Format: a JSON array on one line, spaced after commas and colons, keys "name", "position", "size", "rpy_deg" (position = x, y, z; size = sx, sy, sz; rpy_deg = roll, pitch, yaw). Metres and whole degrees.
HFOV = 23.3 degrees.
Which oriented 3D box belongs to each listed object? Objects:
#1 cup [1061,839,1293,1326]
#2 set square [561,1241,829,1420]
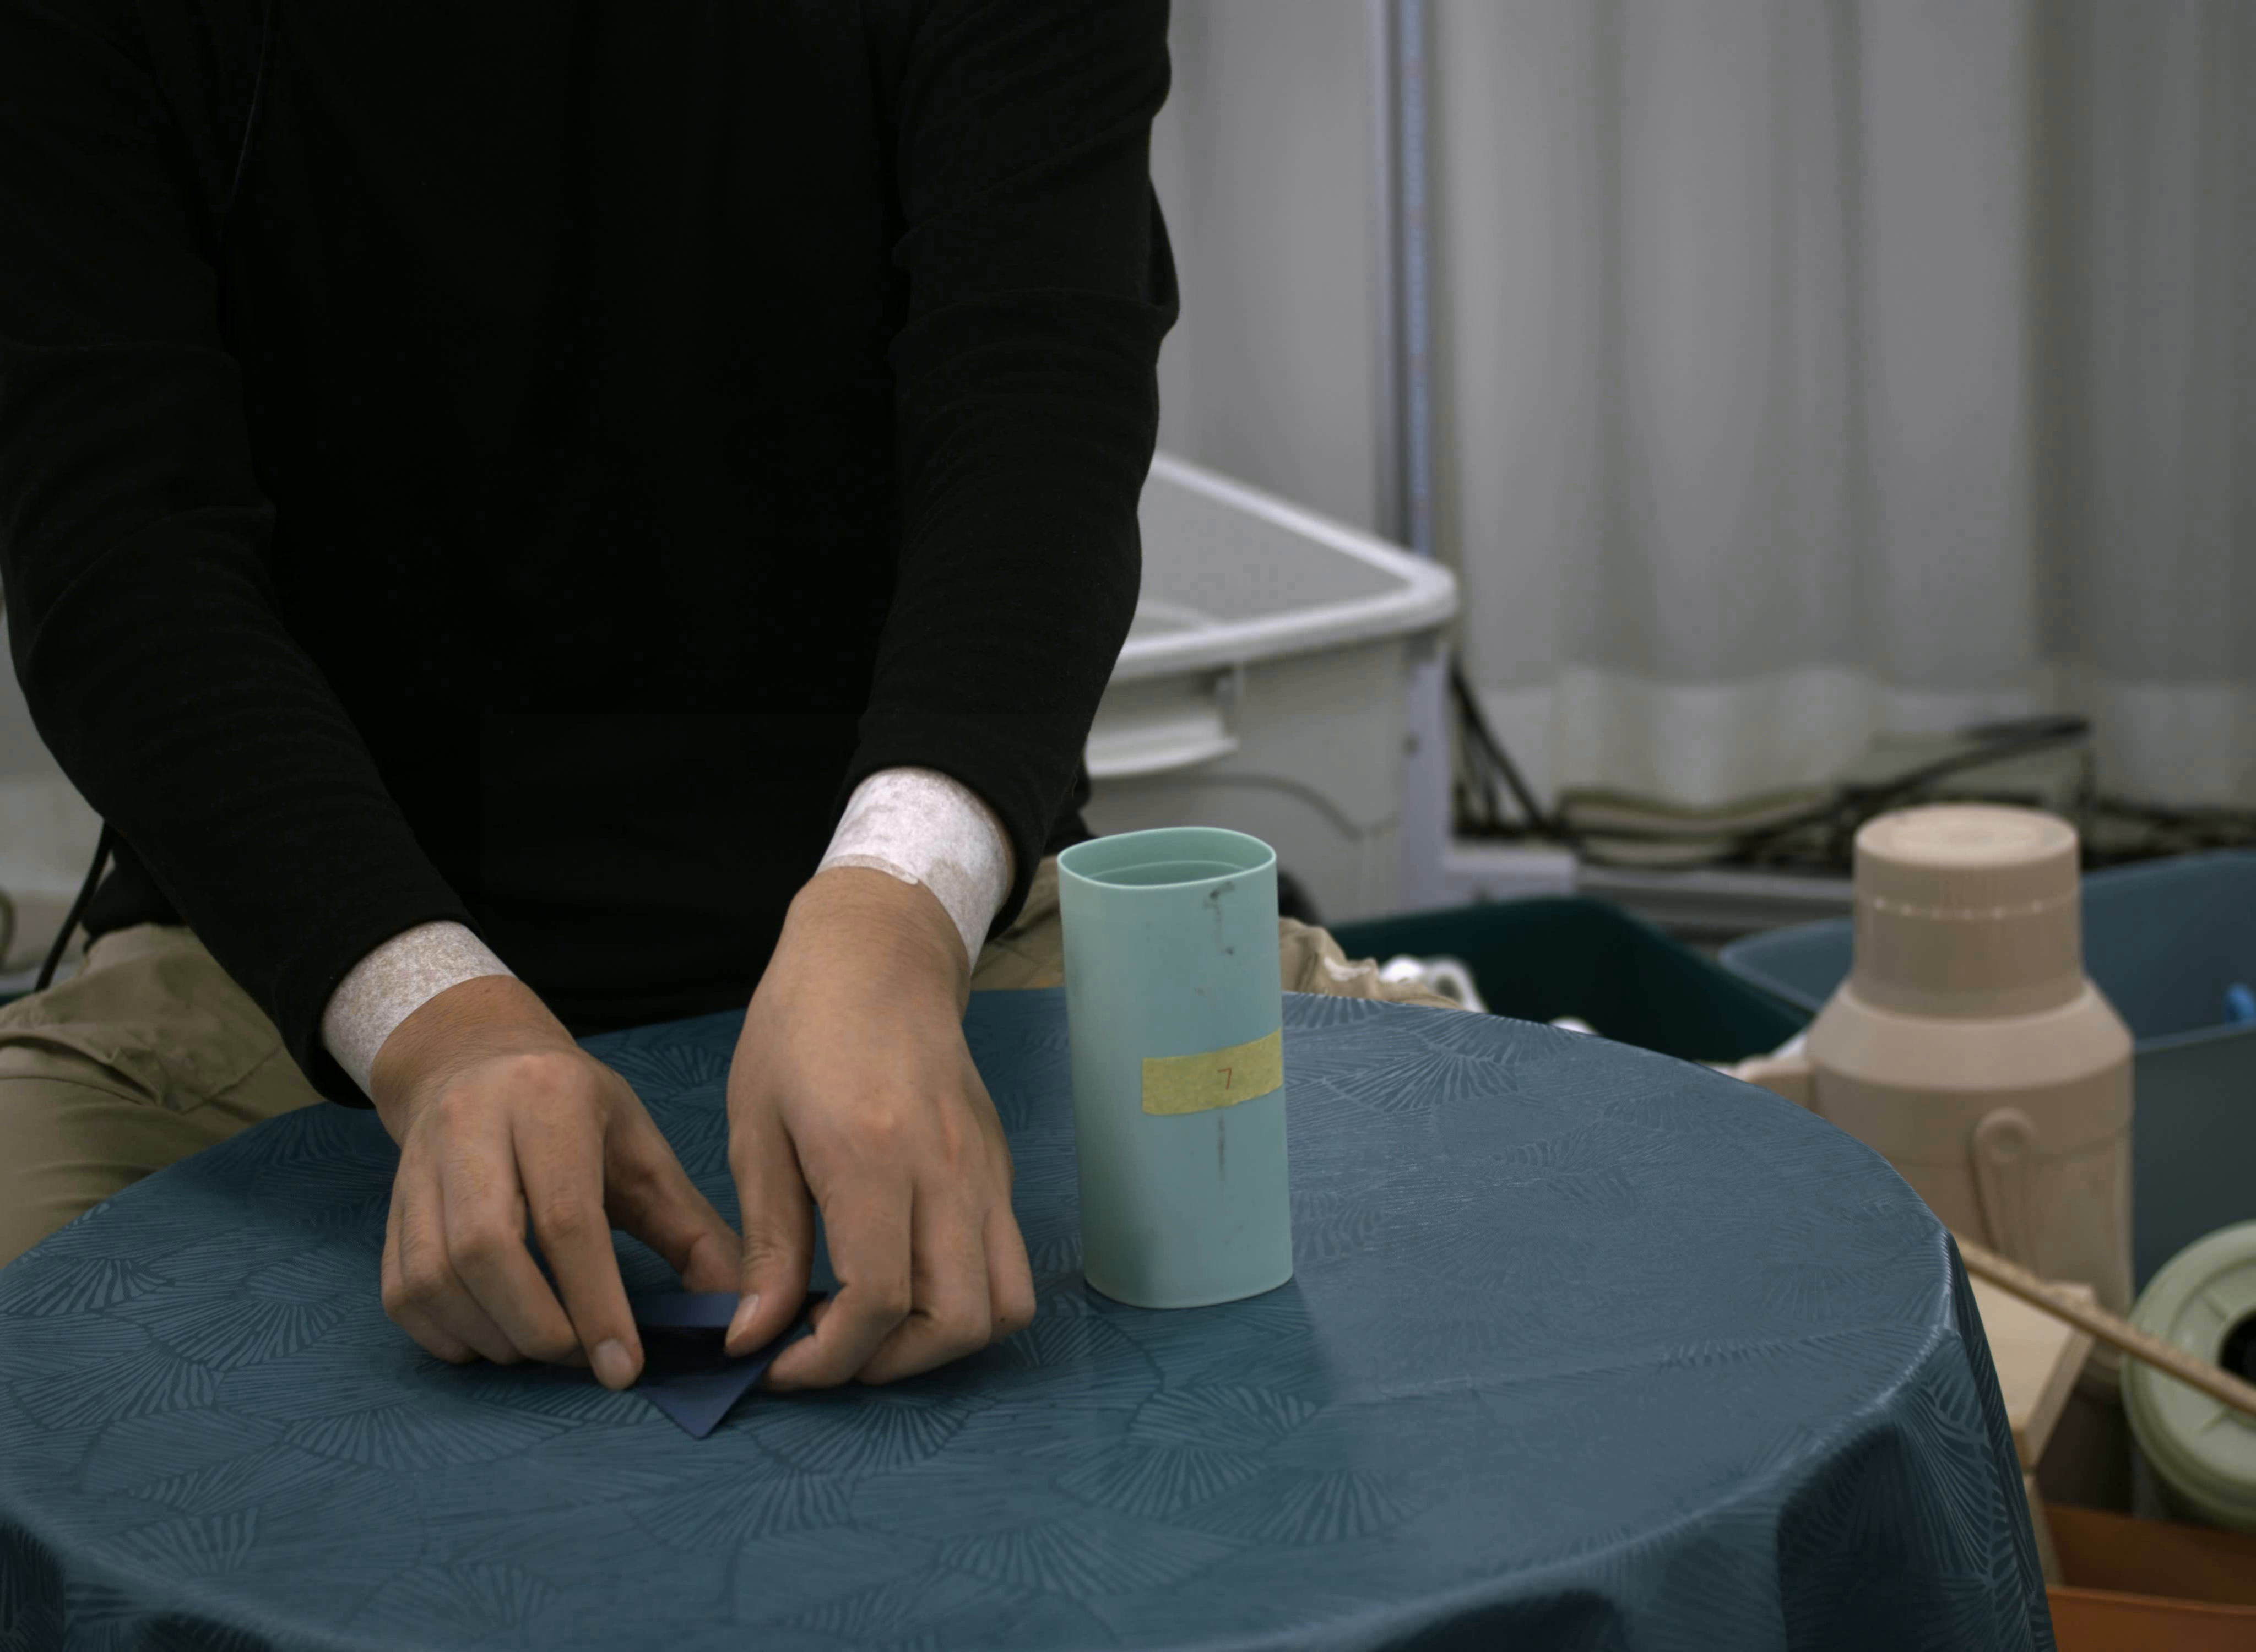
[{"name": "cup", "position": [0.015, 0.075, 1.623], "size": [0.066, 0.132, 0.067], "rpy_deg": [-3, 14, 1]}, {"name": "set square", "position": [-0.125, 0.135, 1.600], "size": [0.061, 0.006, 0.133], "rpy_deg": [-31, 25, -12]}]
